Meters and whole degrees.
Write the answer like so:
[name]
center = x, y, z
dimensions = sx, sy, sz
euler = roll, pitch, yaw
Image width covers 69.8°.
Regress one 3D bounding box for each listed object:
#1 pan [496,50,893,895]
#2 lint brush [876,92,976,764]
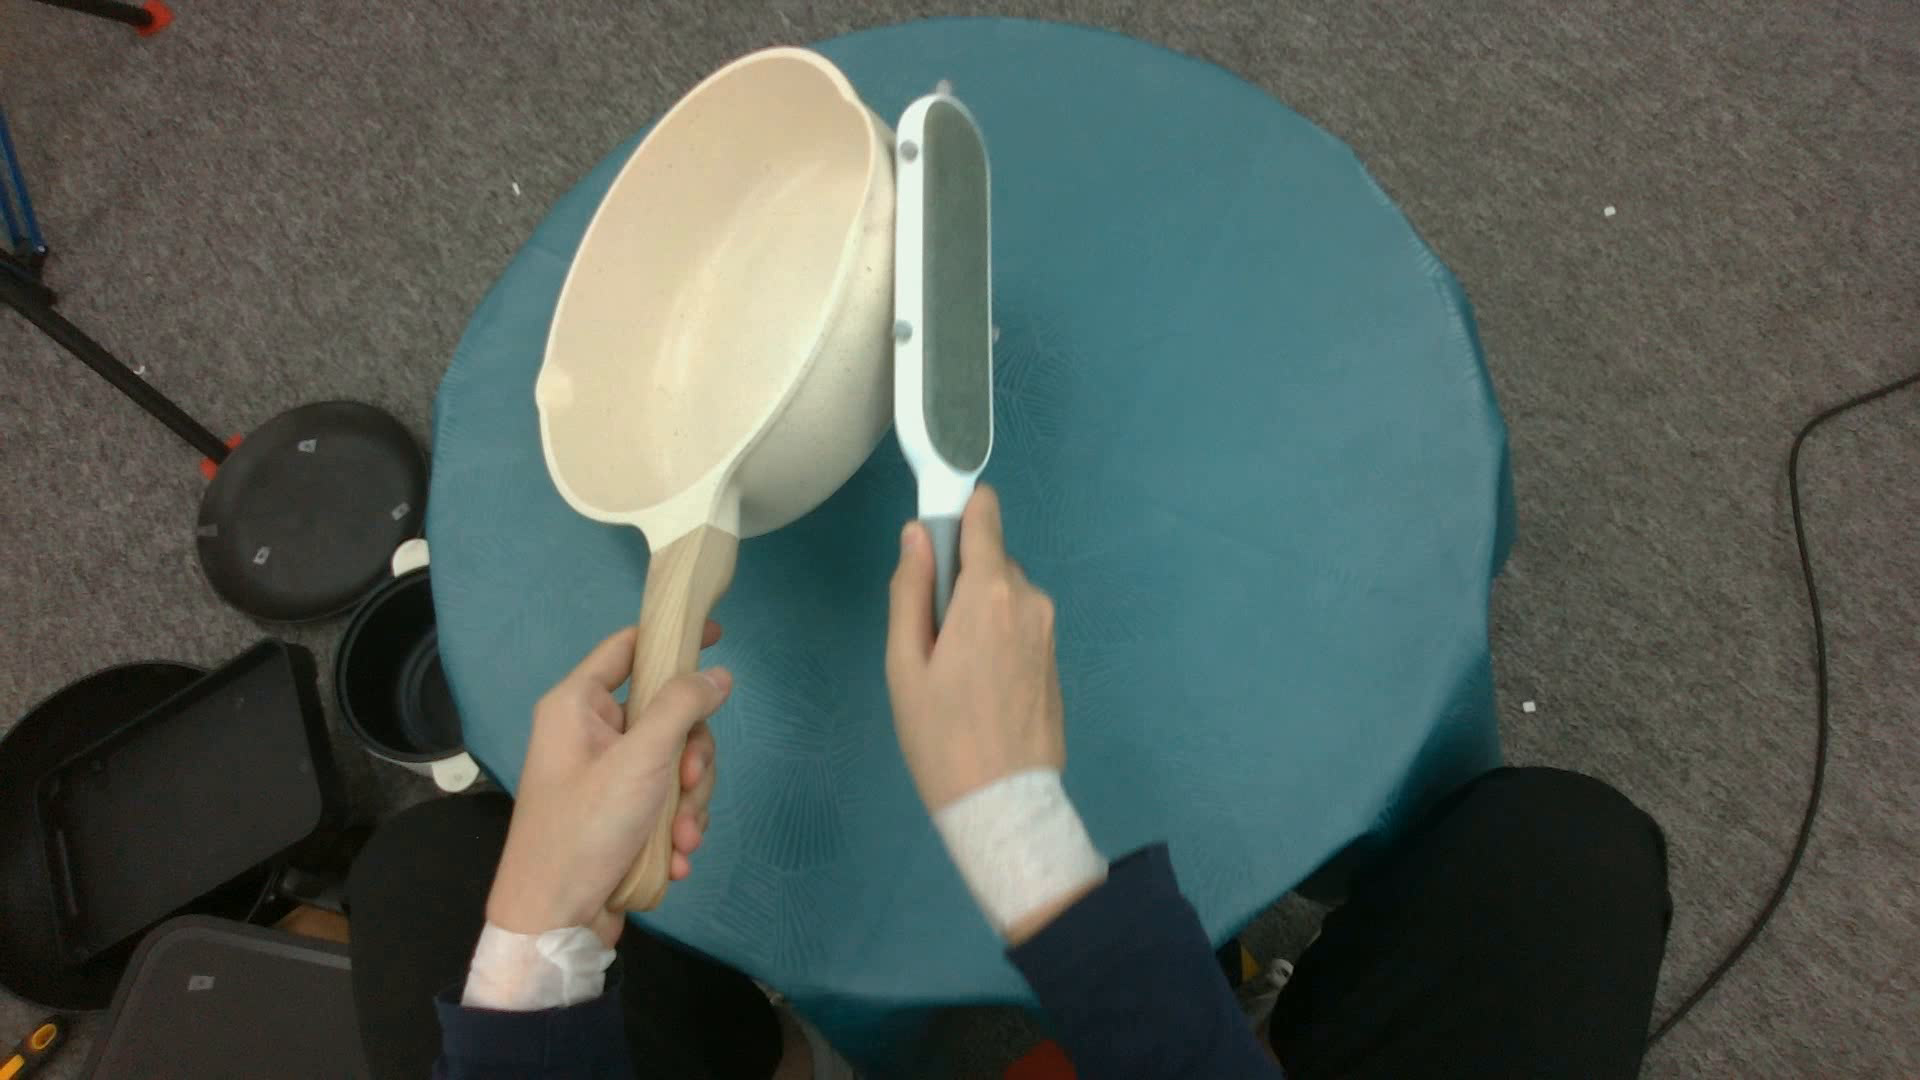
[pan]
center = -0.123, -0.041, 0.662
dimensions = 0.262, 0.102, 0.436
euler = -24, 56, 30
[lint brush]
center = -0.014, -0.057, 0.613
dimensions = 0.021, 0.060, 0.309
euler = -10, 75, 32
